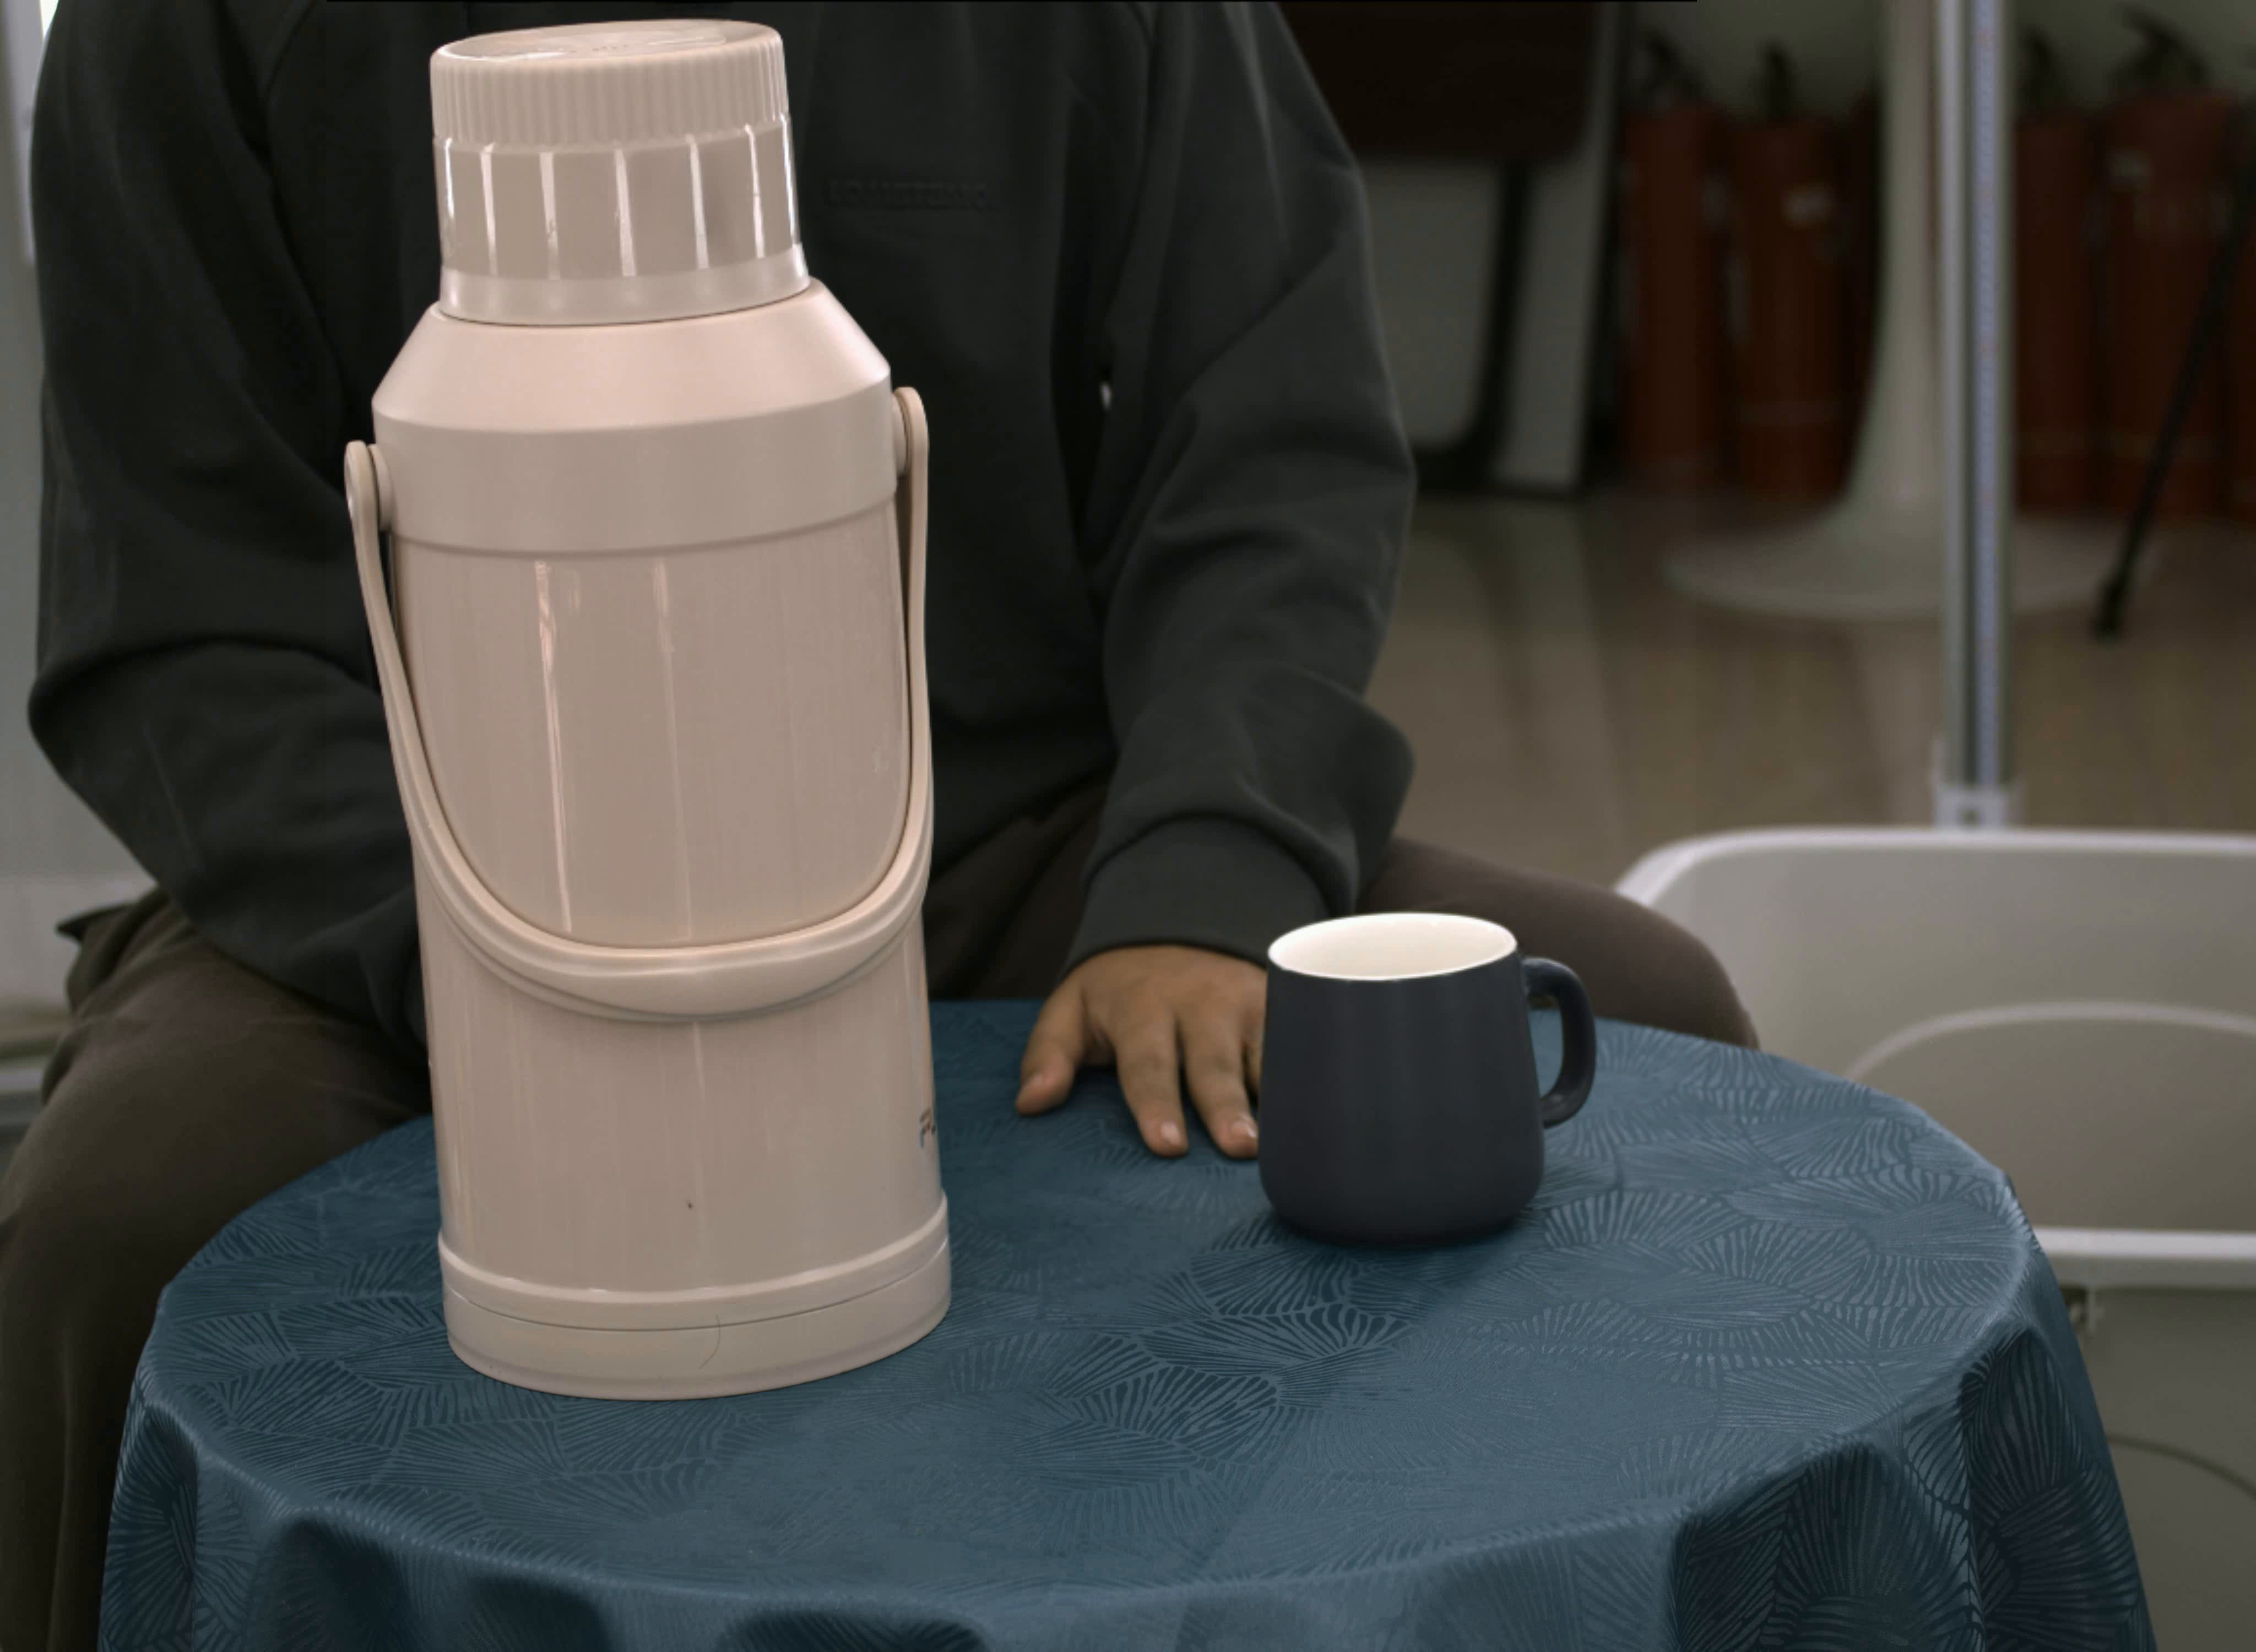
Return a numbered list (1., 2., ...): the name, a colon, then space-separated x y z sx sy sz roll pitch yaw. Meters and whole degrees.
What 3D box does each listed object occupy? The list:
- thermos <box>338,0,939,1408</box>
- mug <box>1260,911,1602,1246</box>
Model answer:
1. thermos: -0.148 -0.043 1.647 0.172 0.411 0.209 -7 14 -15
2. mug: 0.100 0.078 1.731 0.120 0.091 0.094 -11 15 -27
